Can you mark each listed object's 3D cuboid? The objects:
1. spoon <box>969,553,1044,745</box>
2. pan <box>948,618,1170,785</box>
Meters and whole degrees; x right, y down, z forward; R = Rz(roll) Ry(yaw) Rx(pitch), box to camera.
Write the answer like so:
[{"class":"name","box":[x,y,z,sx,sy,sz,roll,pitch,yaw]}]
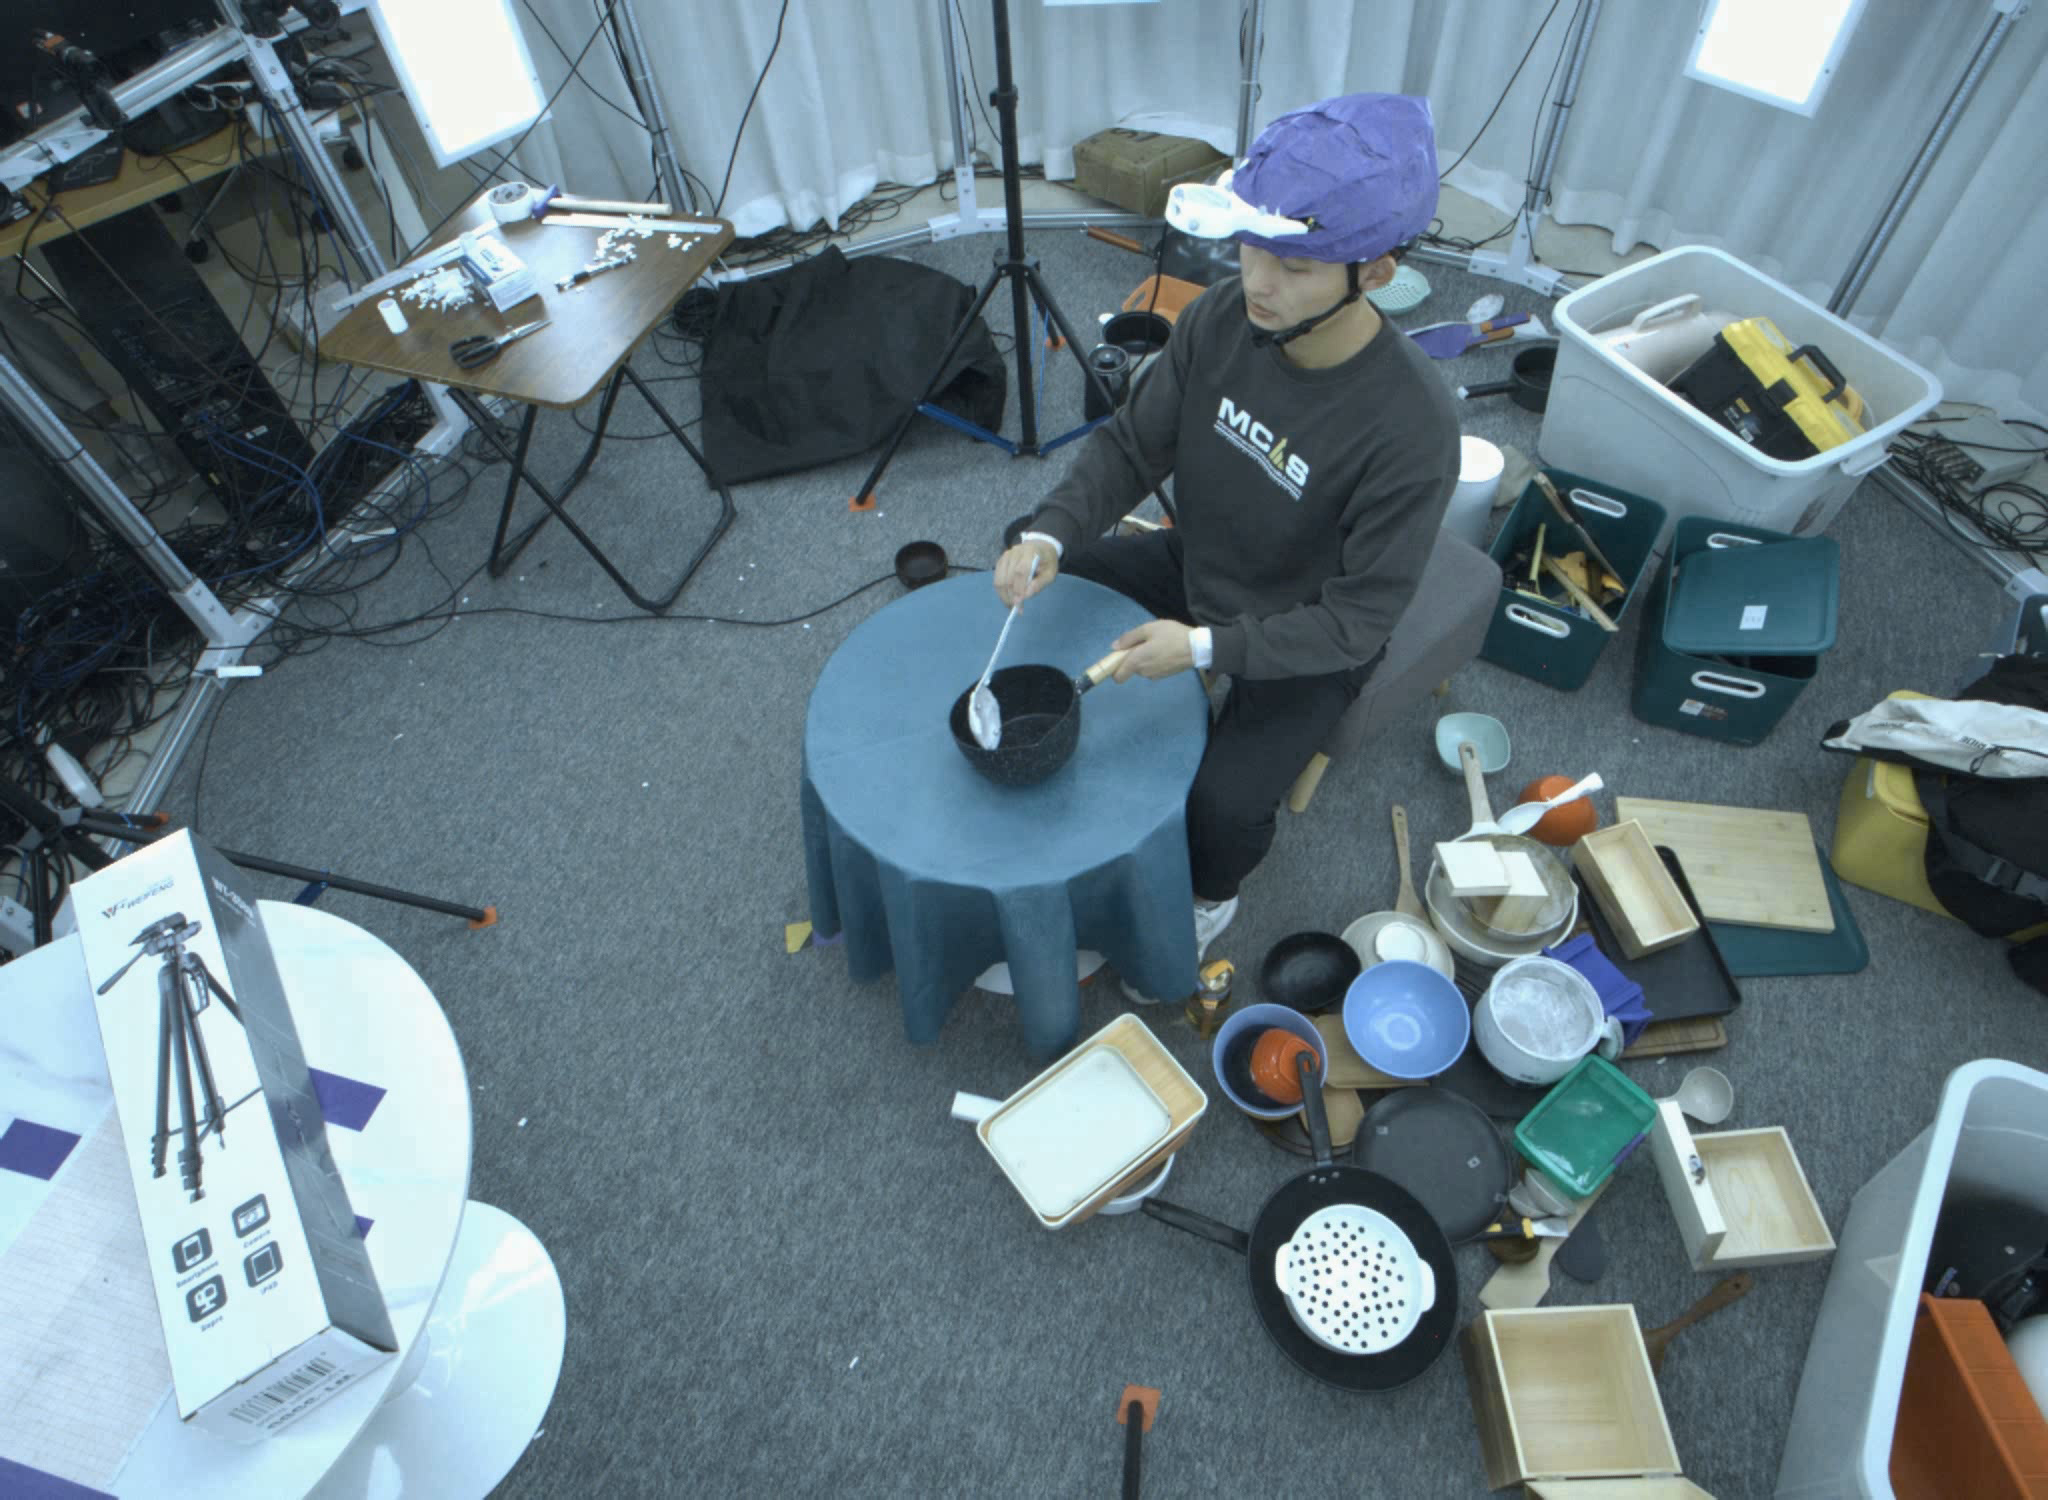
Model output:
[{"class":"spoon","box":[-0.011,-0.137,1.718,0.058,0.102,0.277,28,100,16]},{"class":"pan","box":[0.062,-0.075,1.747,0.344,0.110,0.203,-27,39,-7]}]
